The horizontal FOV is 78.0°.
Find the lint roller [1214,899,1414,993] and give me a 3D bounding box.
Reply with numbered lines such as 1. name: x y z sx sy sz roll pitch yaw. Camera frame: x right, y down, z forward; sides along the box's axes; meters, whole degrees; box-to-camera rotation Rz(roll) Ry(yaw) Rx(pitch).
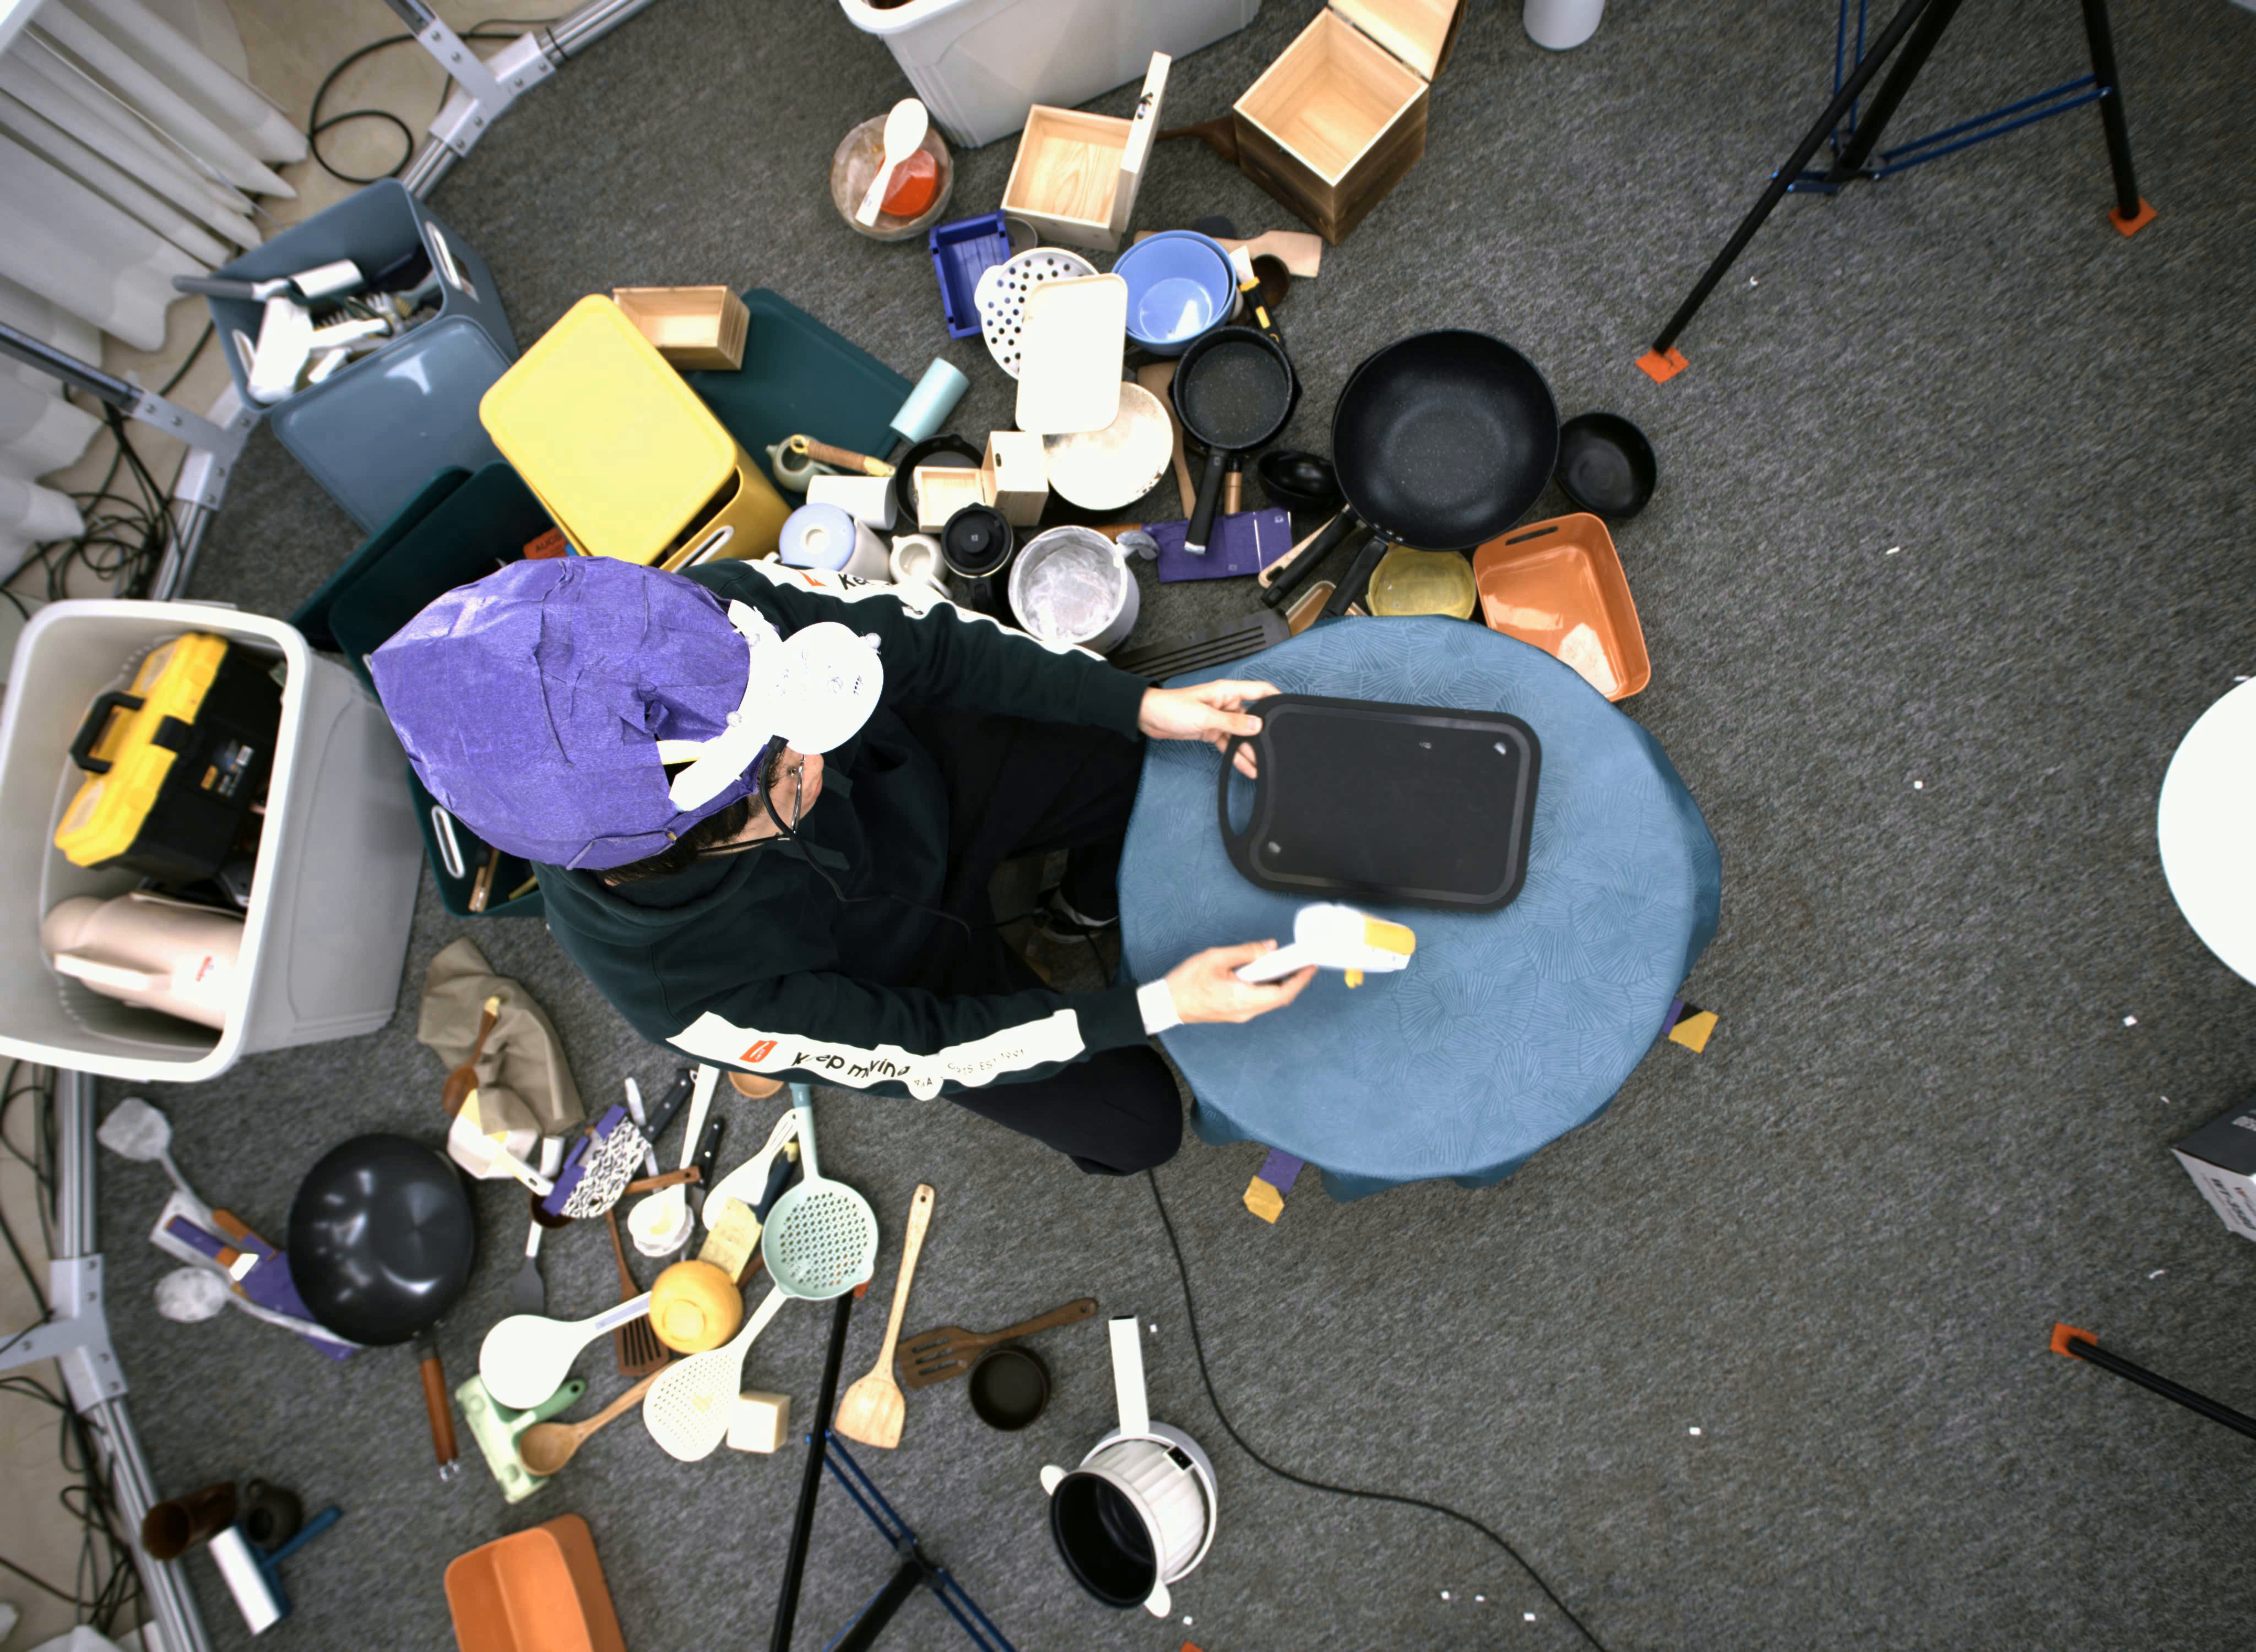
1. lint roller: 0.168 0.124 1.371 0.195 0.192 0.073 -13 76 33

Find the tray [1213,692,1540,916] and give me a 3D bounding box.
1. tray: 0.248 -0.024 1.412 0.326 0.009 0.213 7 104 11
